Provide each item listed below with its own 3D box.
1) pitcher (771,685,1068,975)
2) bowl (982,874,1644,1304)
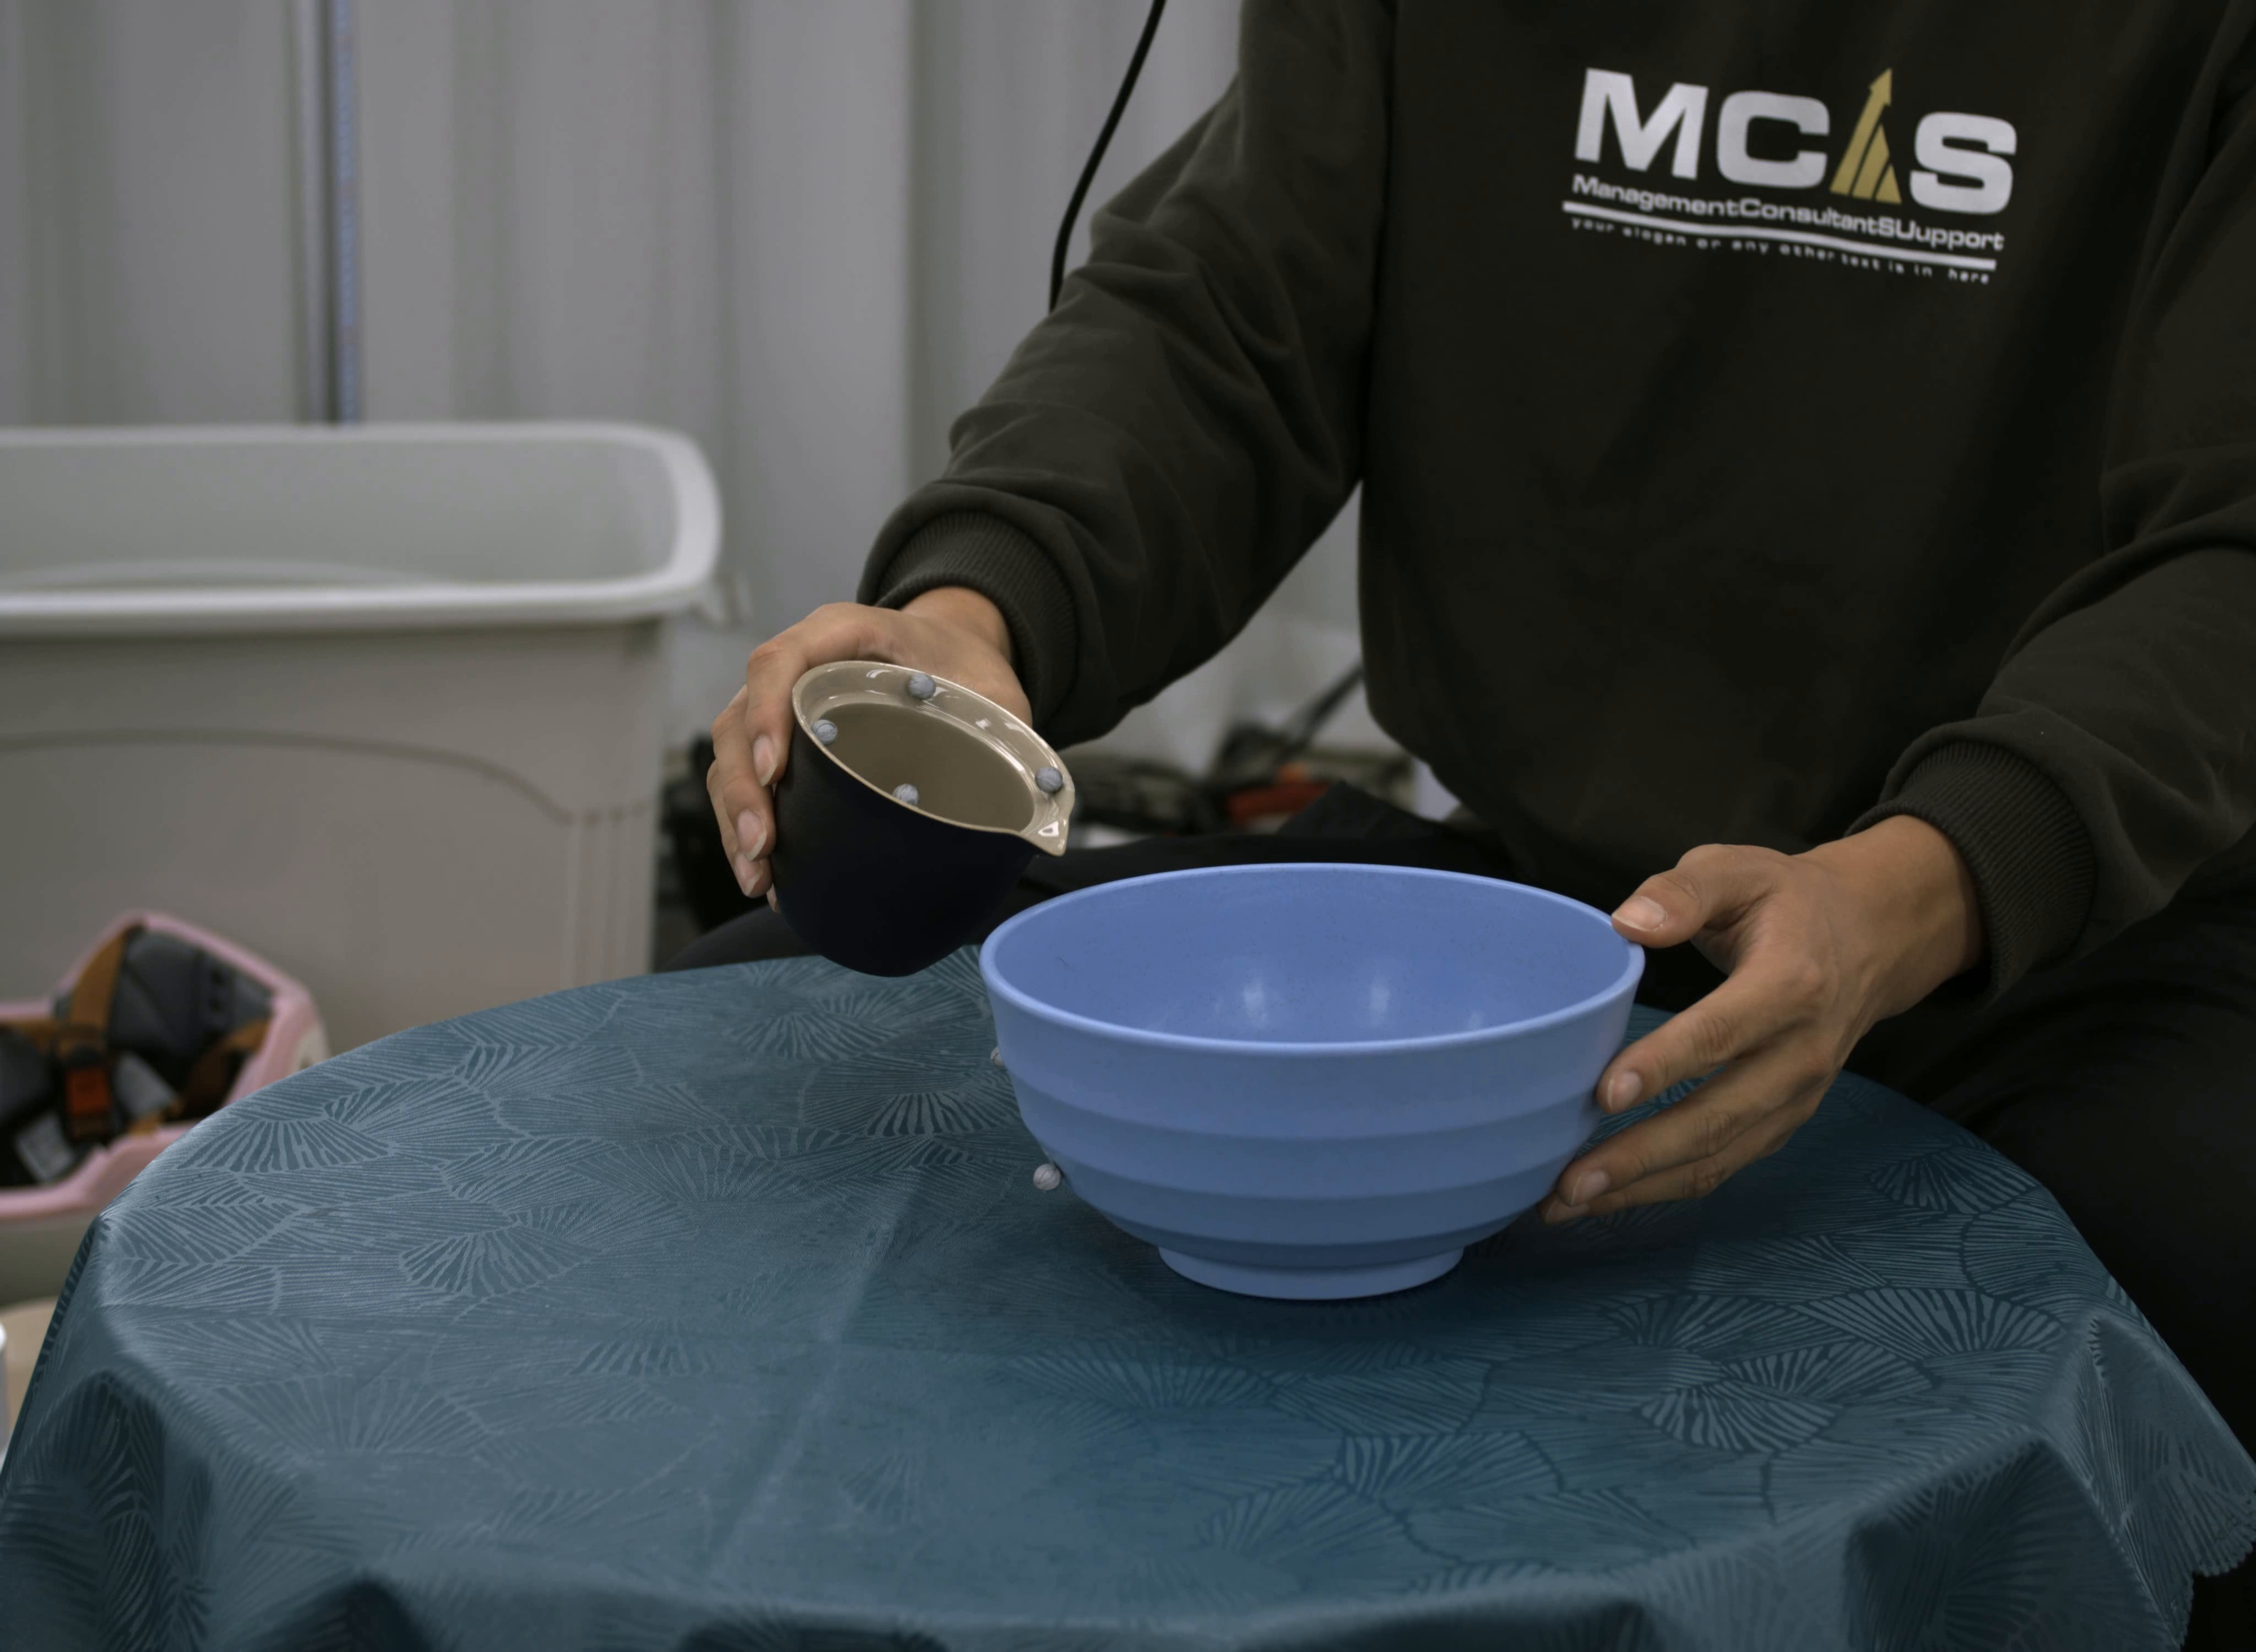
[{"bbox_3d":[-0.068,0.006,1.632,0.095,0.072,0.084,36,27,22],"label":"pitcher"},{"bbox_3d":[0.054,0.083,1.568,0.196,0.096,0.195,2,14,0],"label":"bowl"}]
